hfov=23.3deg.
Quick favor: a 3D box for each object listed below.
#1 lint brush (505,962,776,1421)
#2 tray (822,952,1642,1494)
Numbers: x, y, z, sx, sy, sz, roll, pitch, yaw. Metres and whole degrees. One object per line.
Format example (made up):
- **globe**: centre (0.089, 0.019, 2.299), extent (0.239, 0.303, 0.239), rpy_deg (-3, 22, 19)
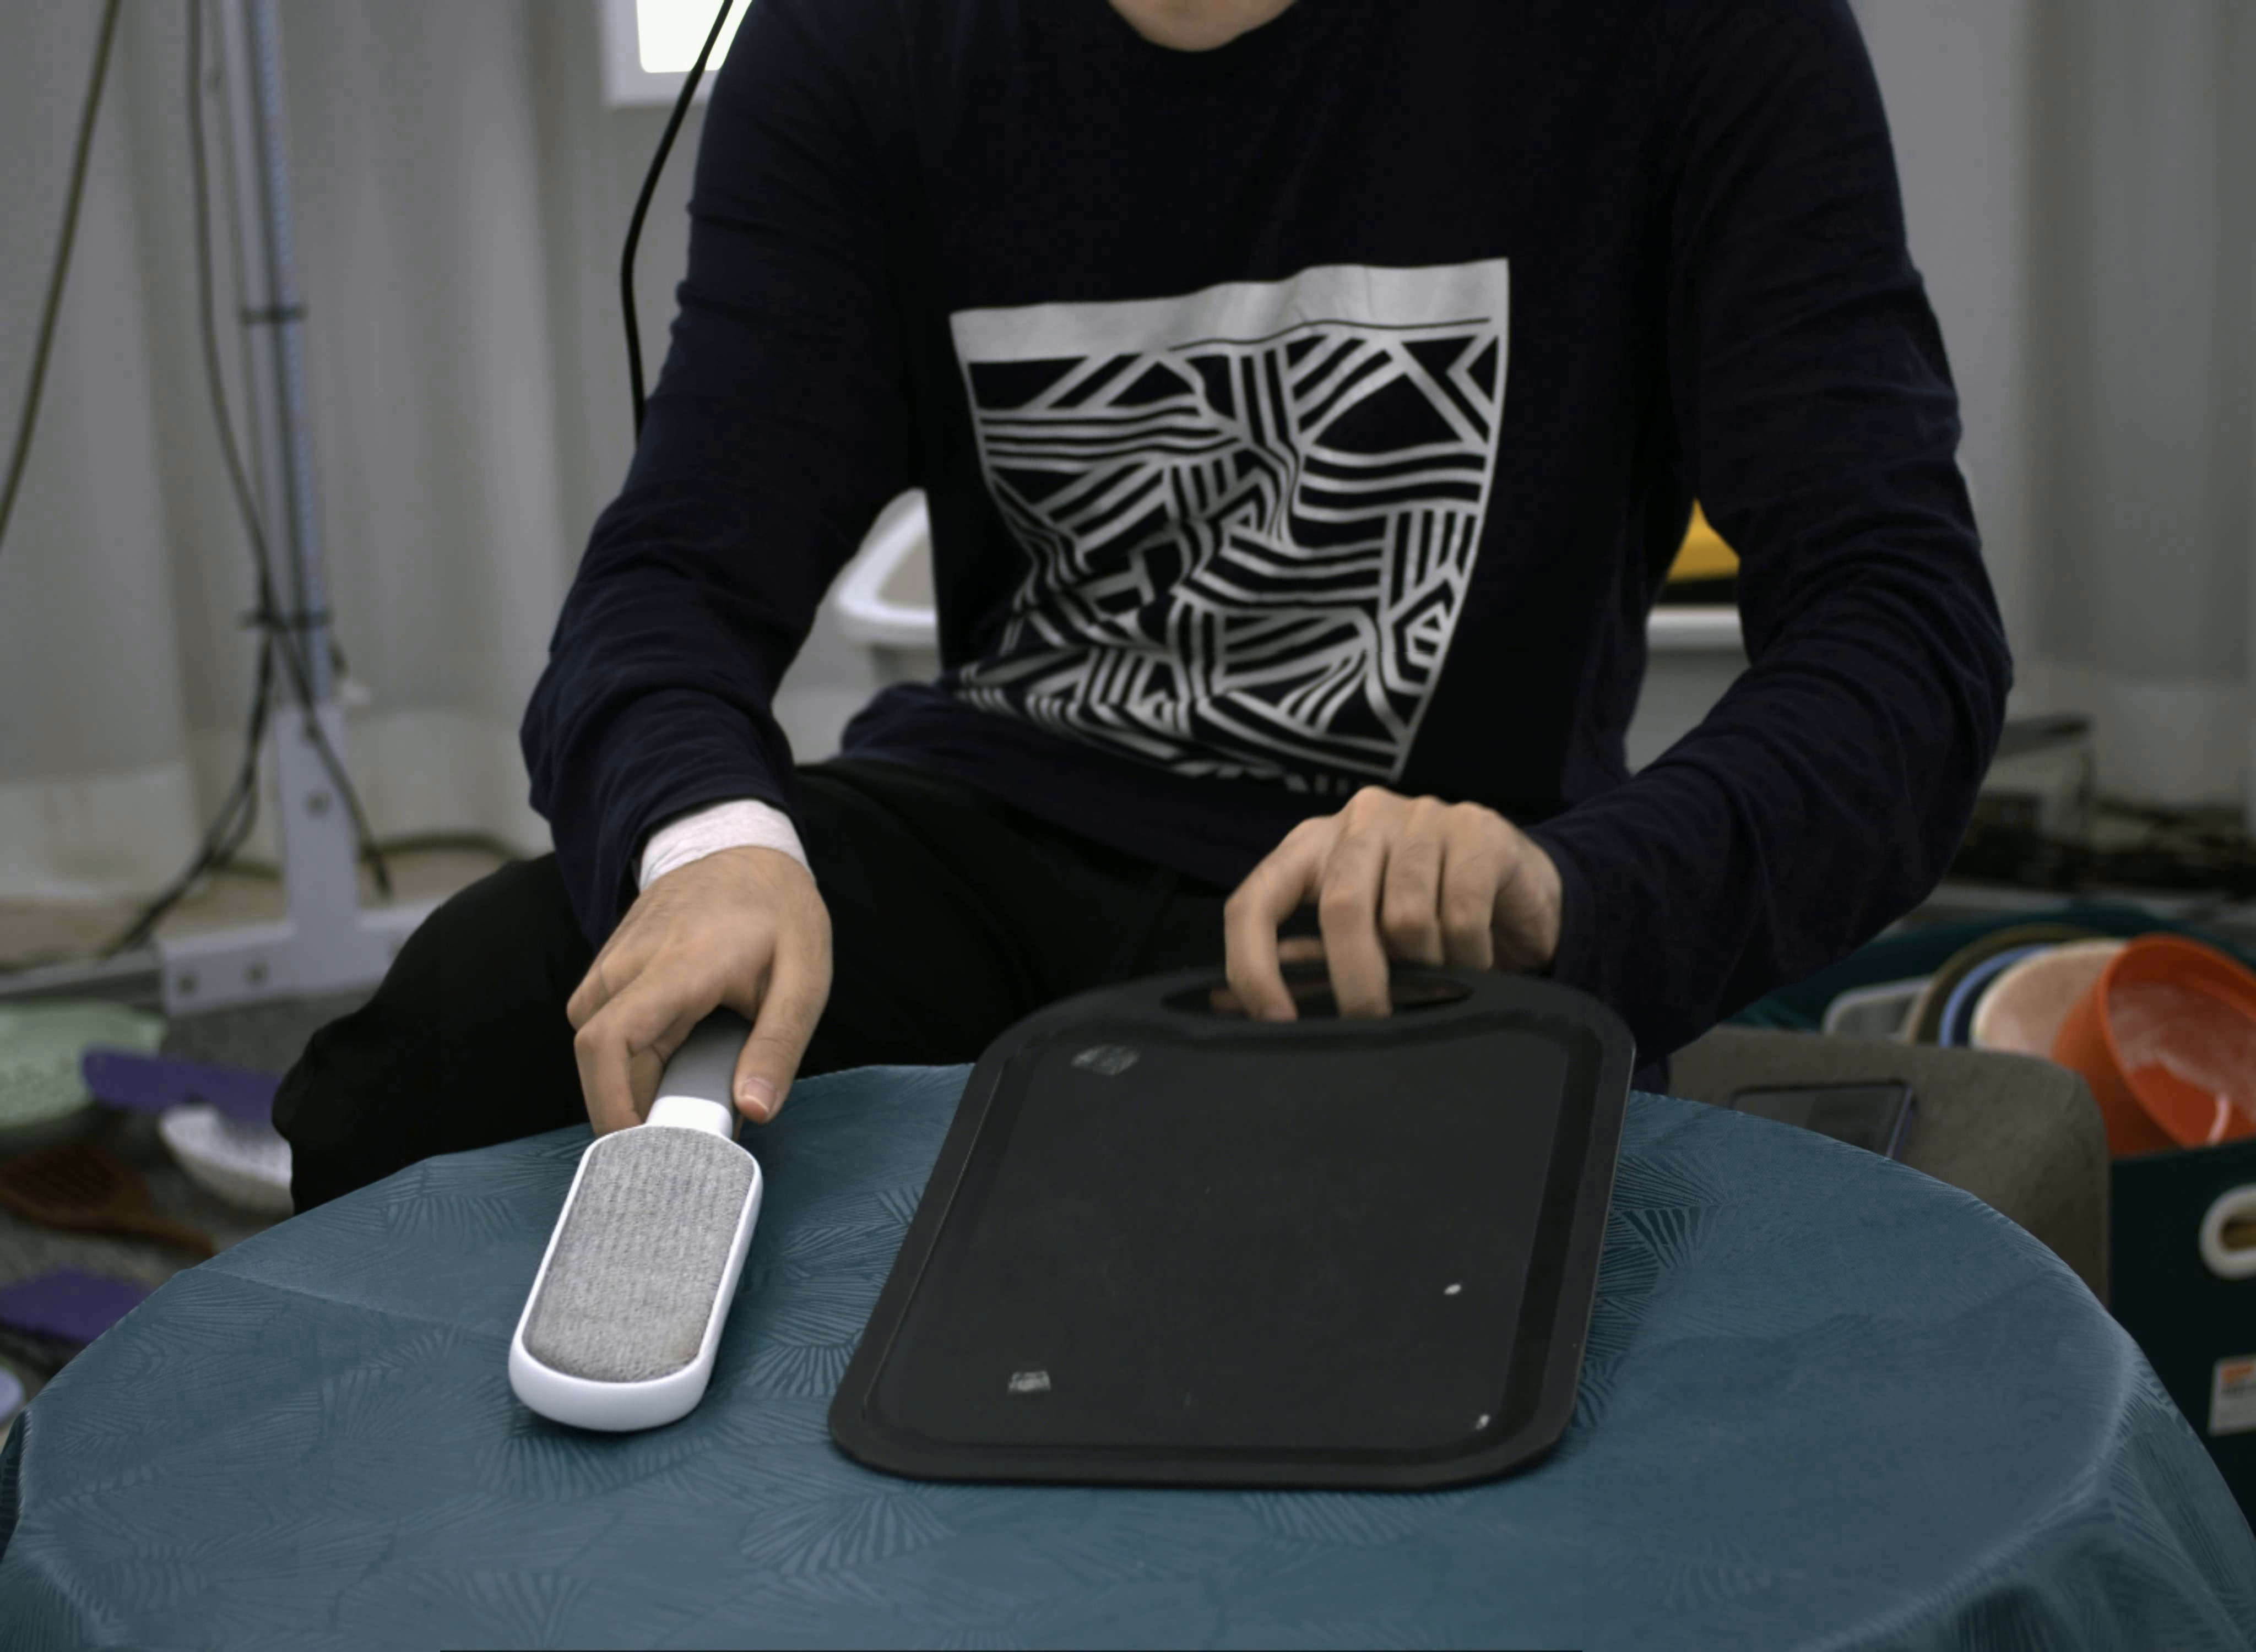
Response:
- **lint brush**: centre (-0.138, 0.106, 1.667), extent (0.060, 0.021, 0.311), rpy_deg (2, 21, 3)
- **tray**: centre (0.038, 0.108, 1.621), extent (0.211, 0.010, 0.328), rpy_deg (0, 25, 12)
